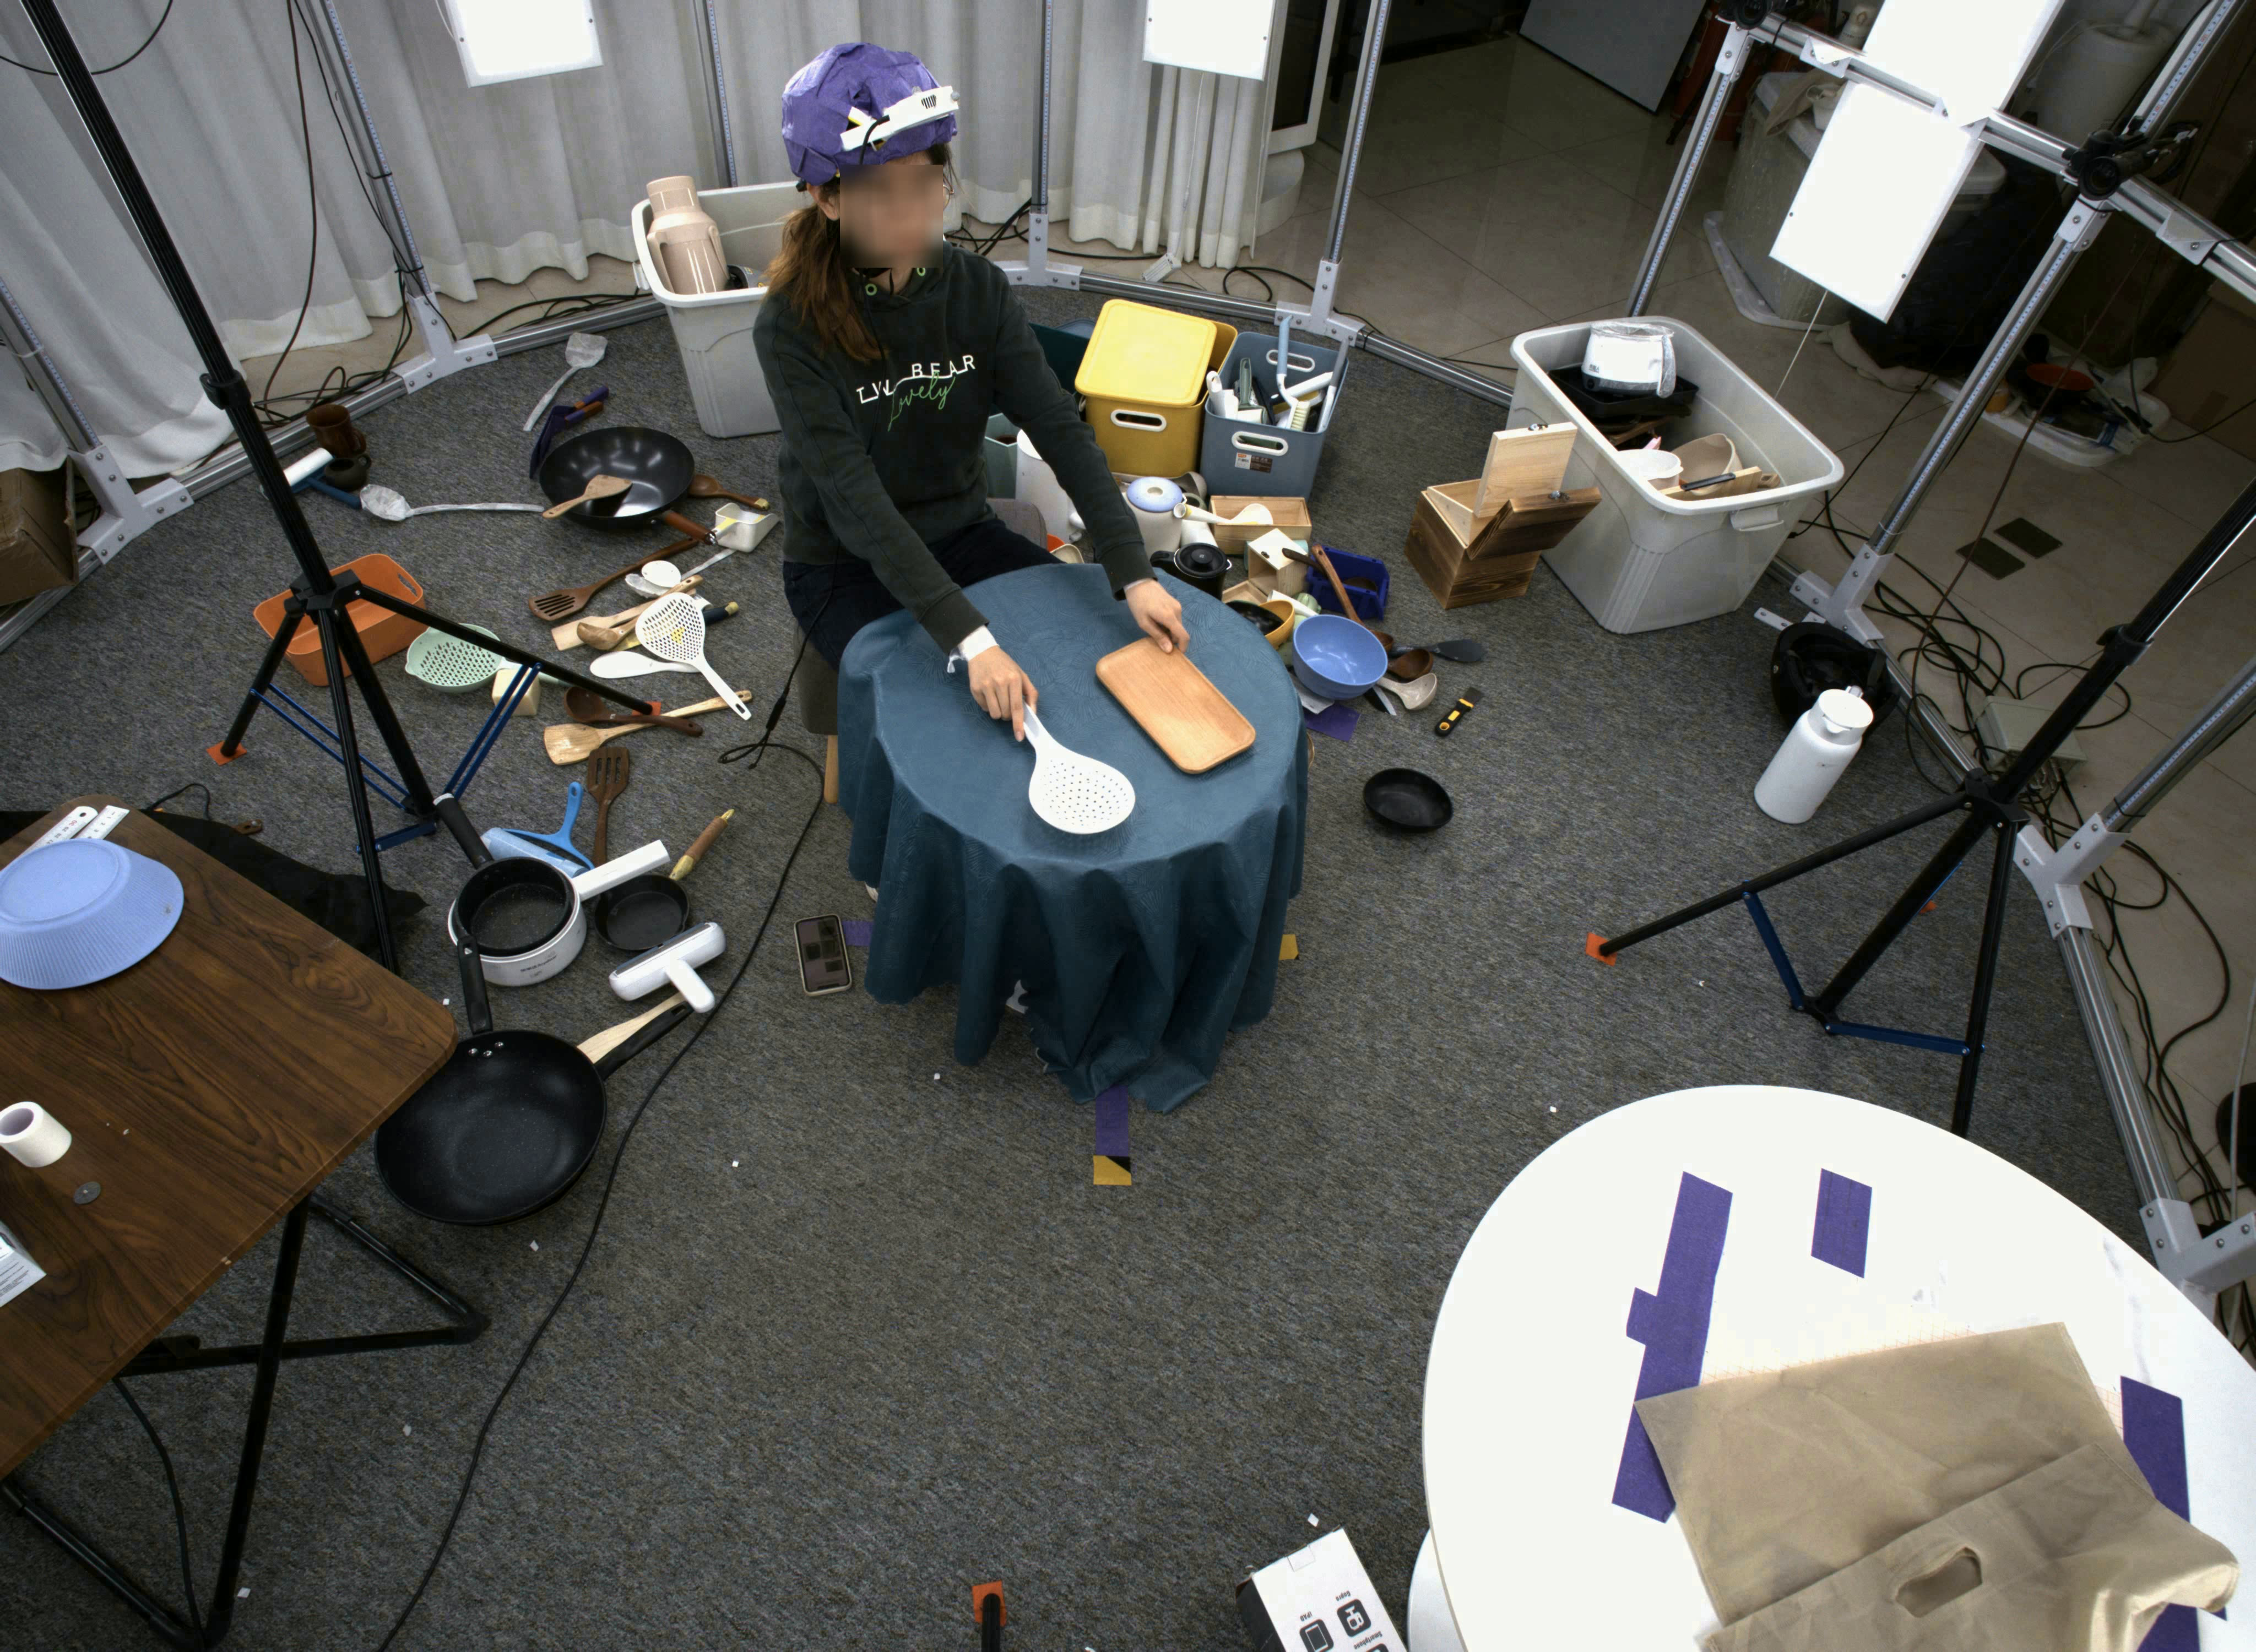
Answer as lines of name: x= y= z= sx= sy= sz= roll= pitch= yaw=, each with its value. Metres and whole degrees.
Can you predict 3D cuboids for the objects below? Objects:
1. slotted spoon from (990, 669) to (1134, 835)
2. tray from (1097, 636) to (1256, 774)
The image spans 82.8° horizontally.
slotted spoon: x=-0.109 y=-0.105 z=1.735 sx=0.136 sy=0.044 sz=0.357 roll=-15 pitch=52 yaw=-23
tray: x=0.066 y=-0.174 z=1.823 sx=0.131 sy=0.022 sz=0.256 roll=-25 pitch=55 yaw=-22
